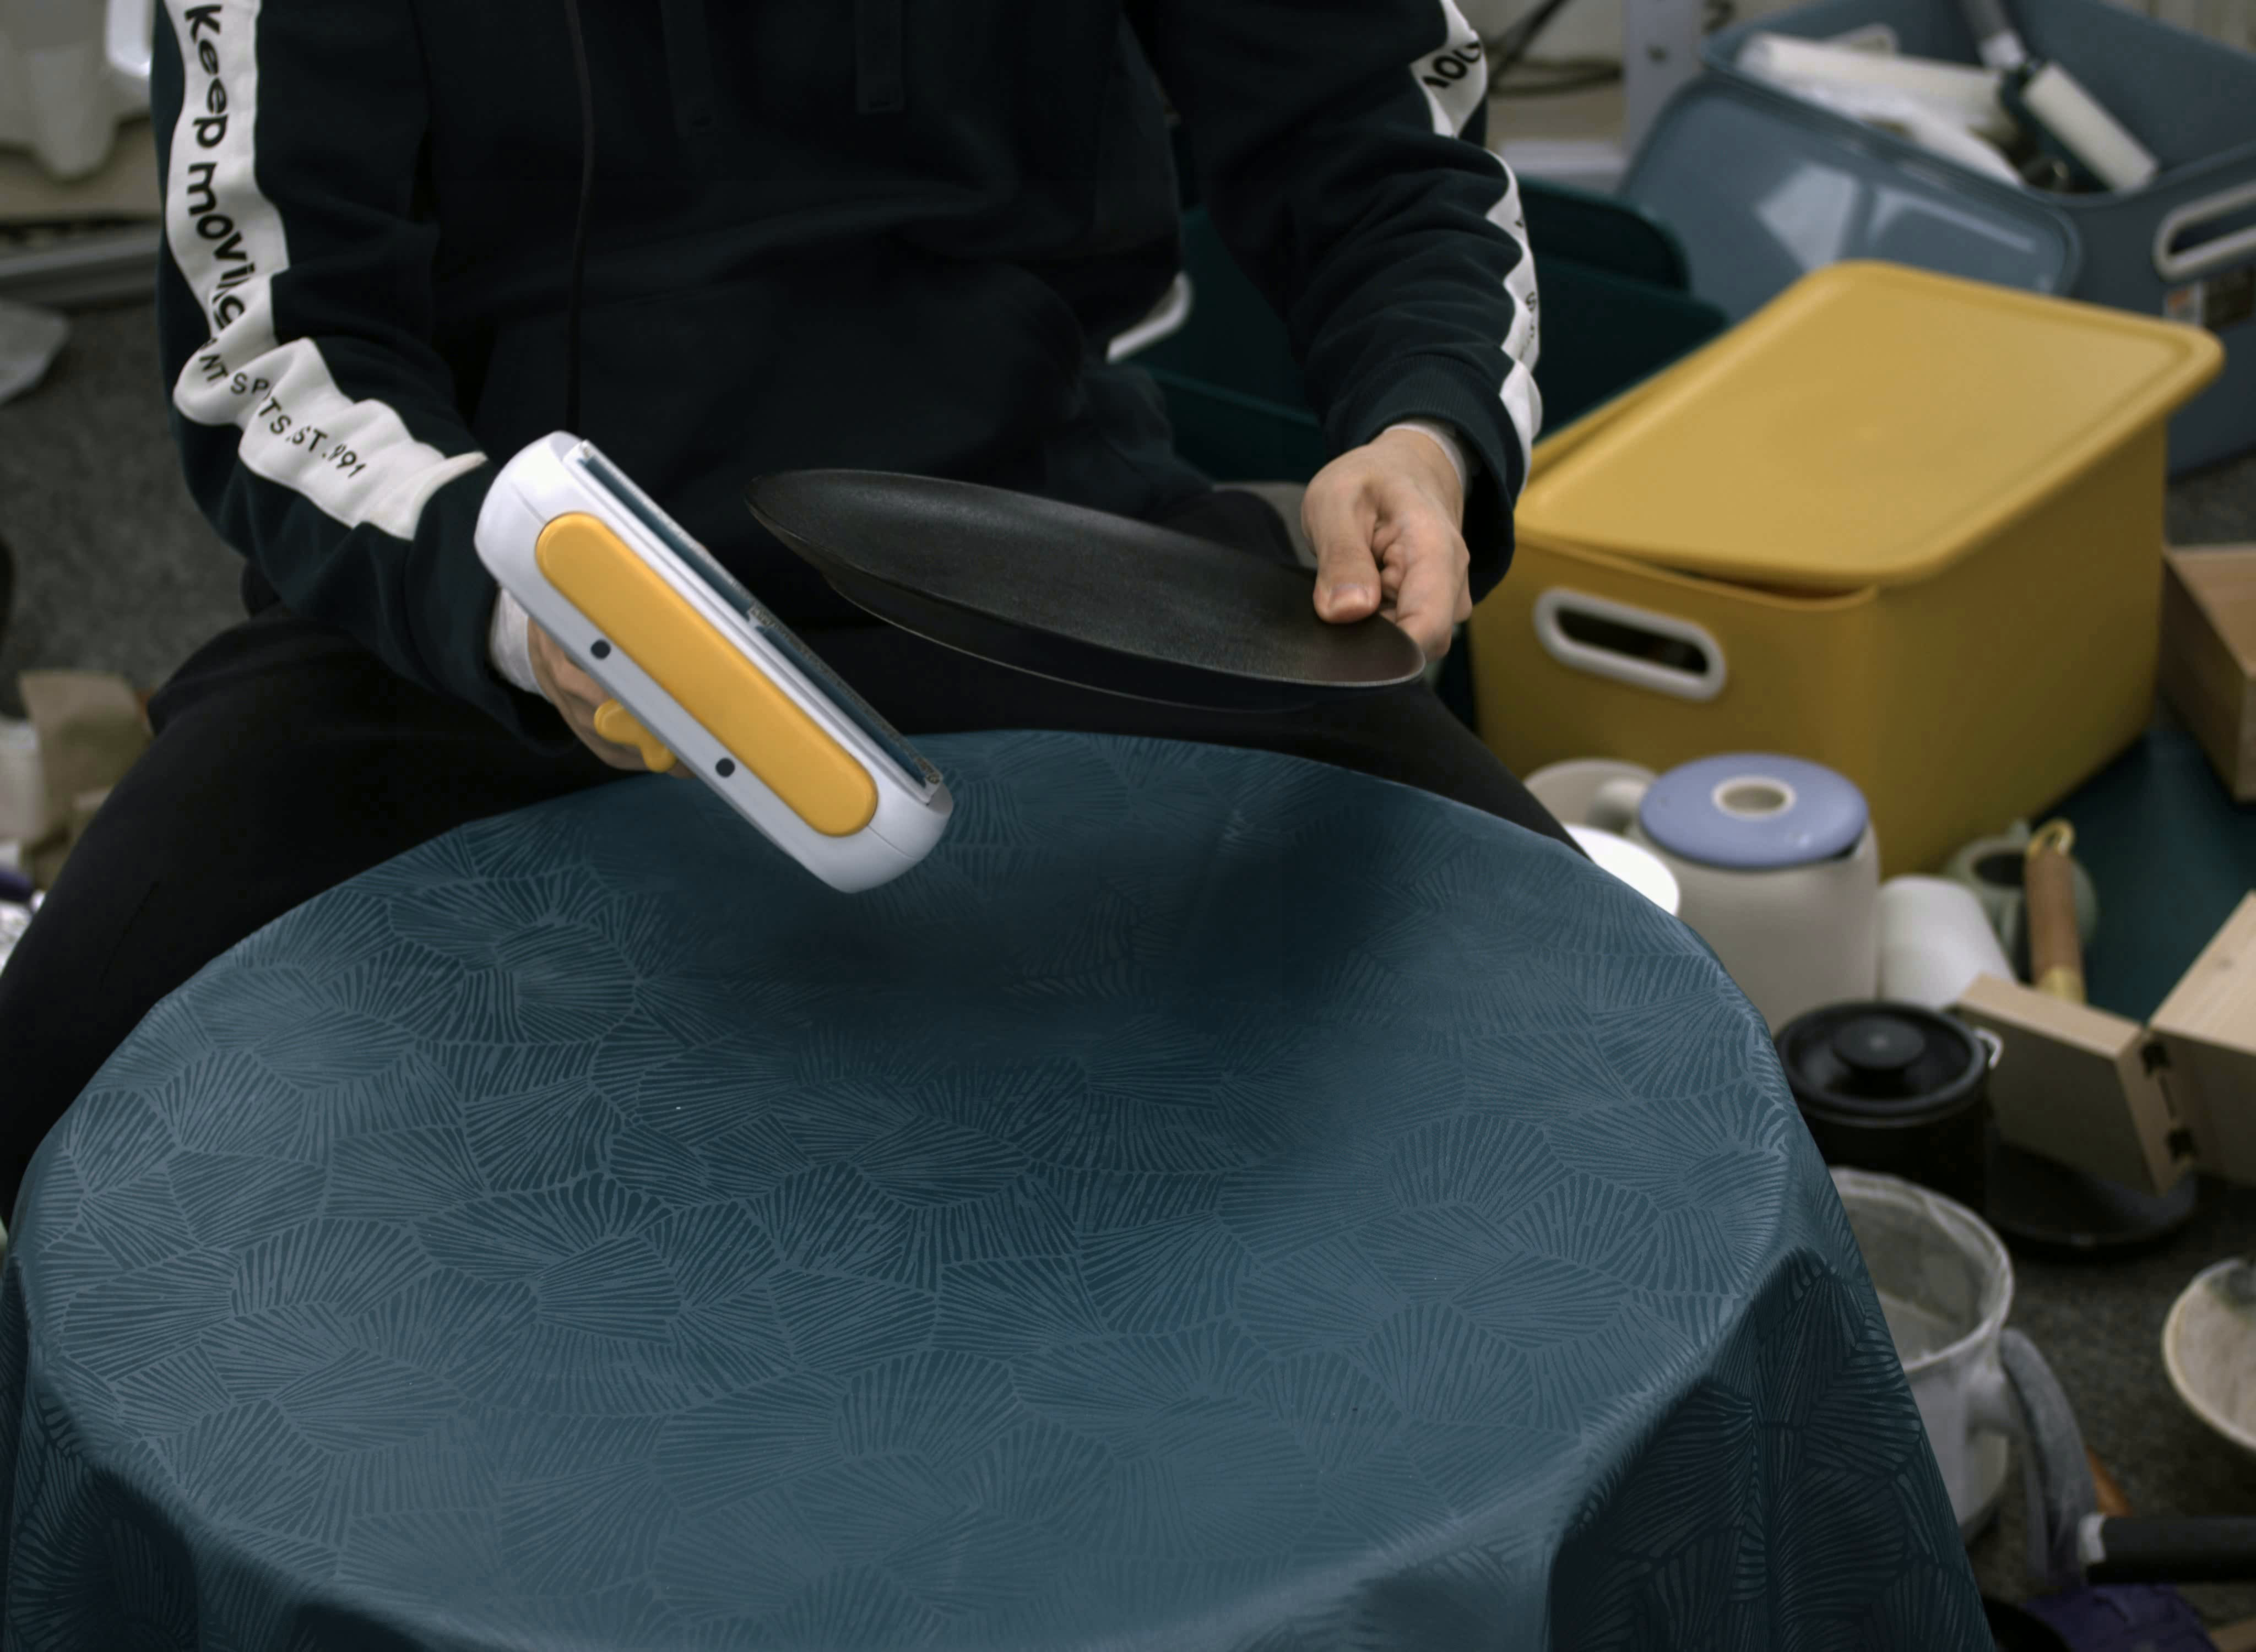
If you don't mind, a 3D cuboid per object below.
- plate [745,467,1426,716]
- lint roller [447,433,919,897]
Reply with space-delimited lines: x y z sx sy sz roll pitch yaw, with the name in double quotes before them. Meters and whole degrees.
"plate" -0.016 -0.078 1.947 0.243 0.023 0.246 14 13 -3
"lint roller" -0.159 -0.042 1.954 0.074 0.193 0.191 -50 -1 -8
